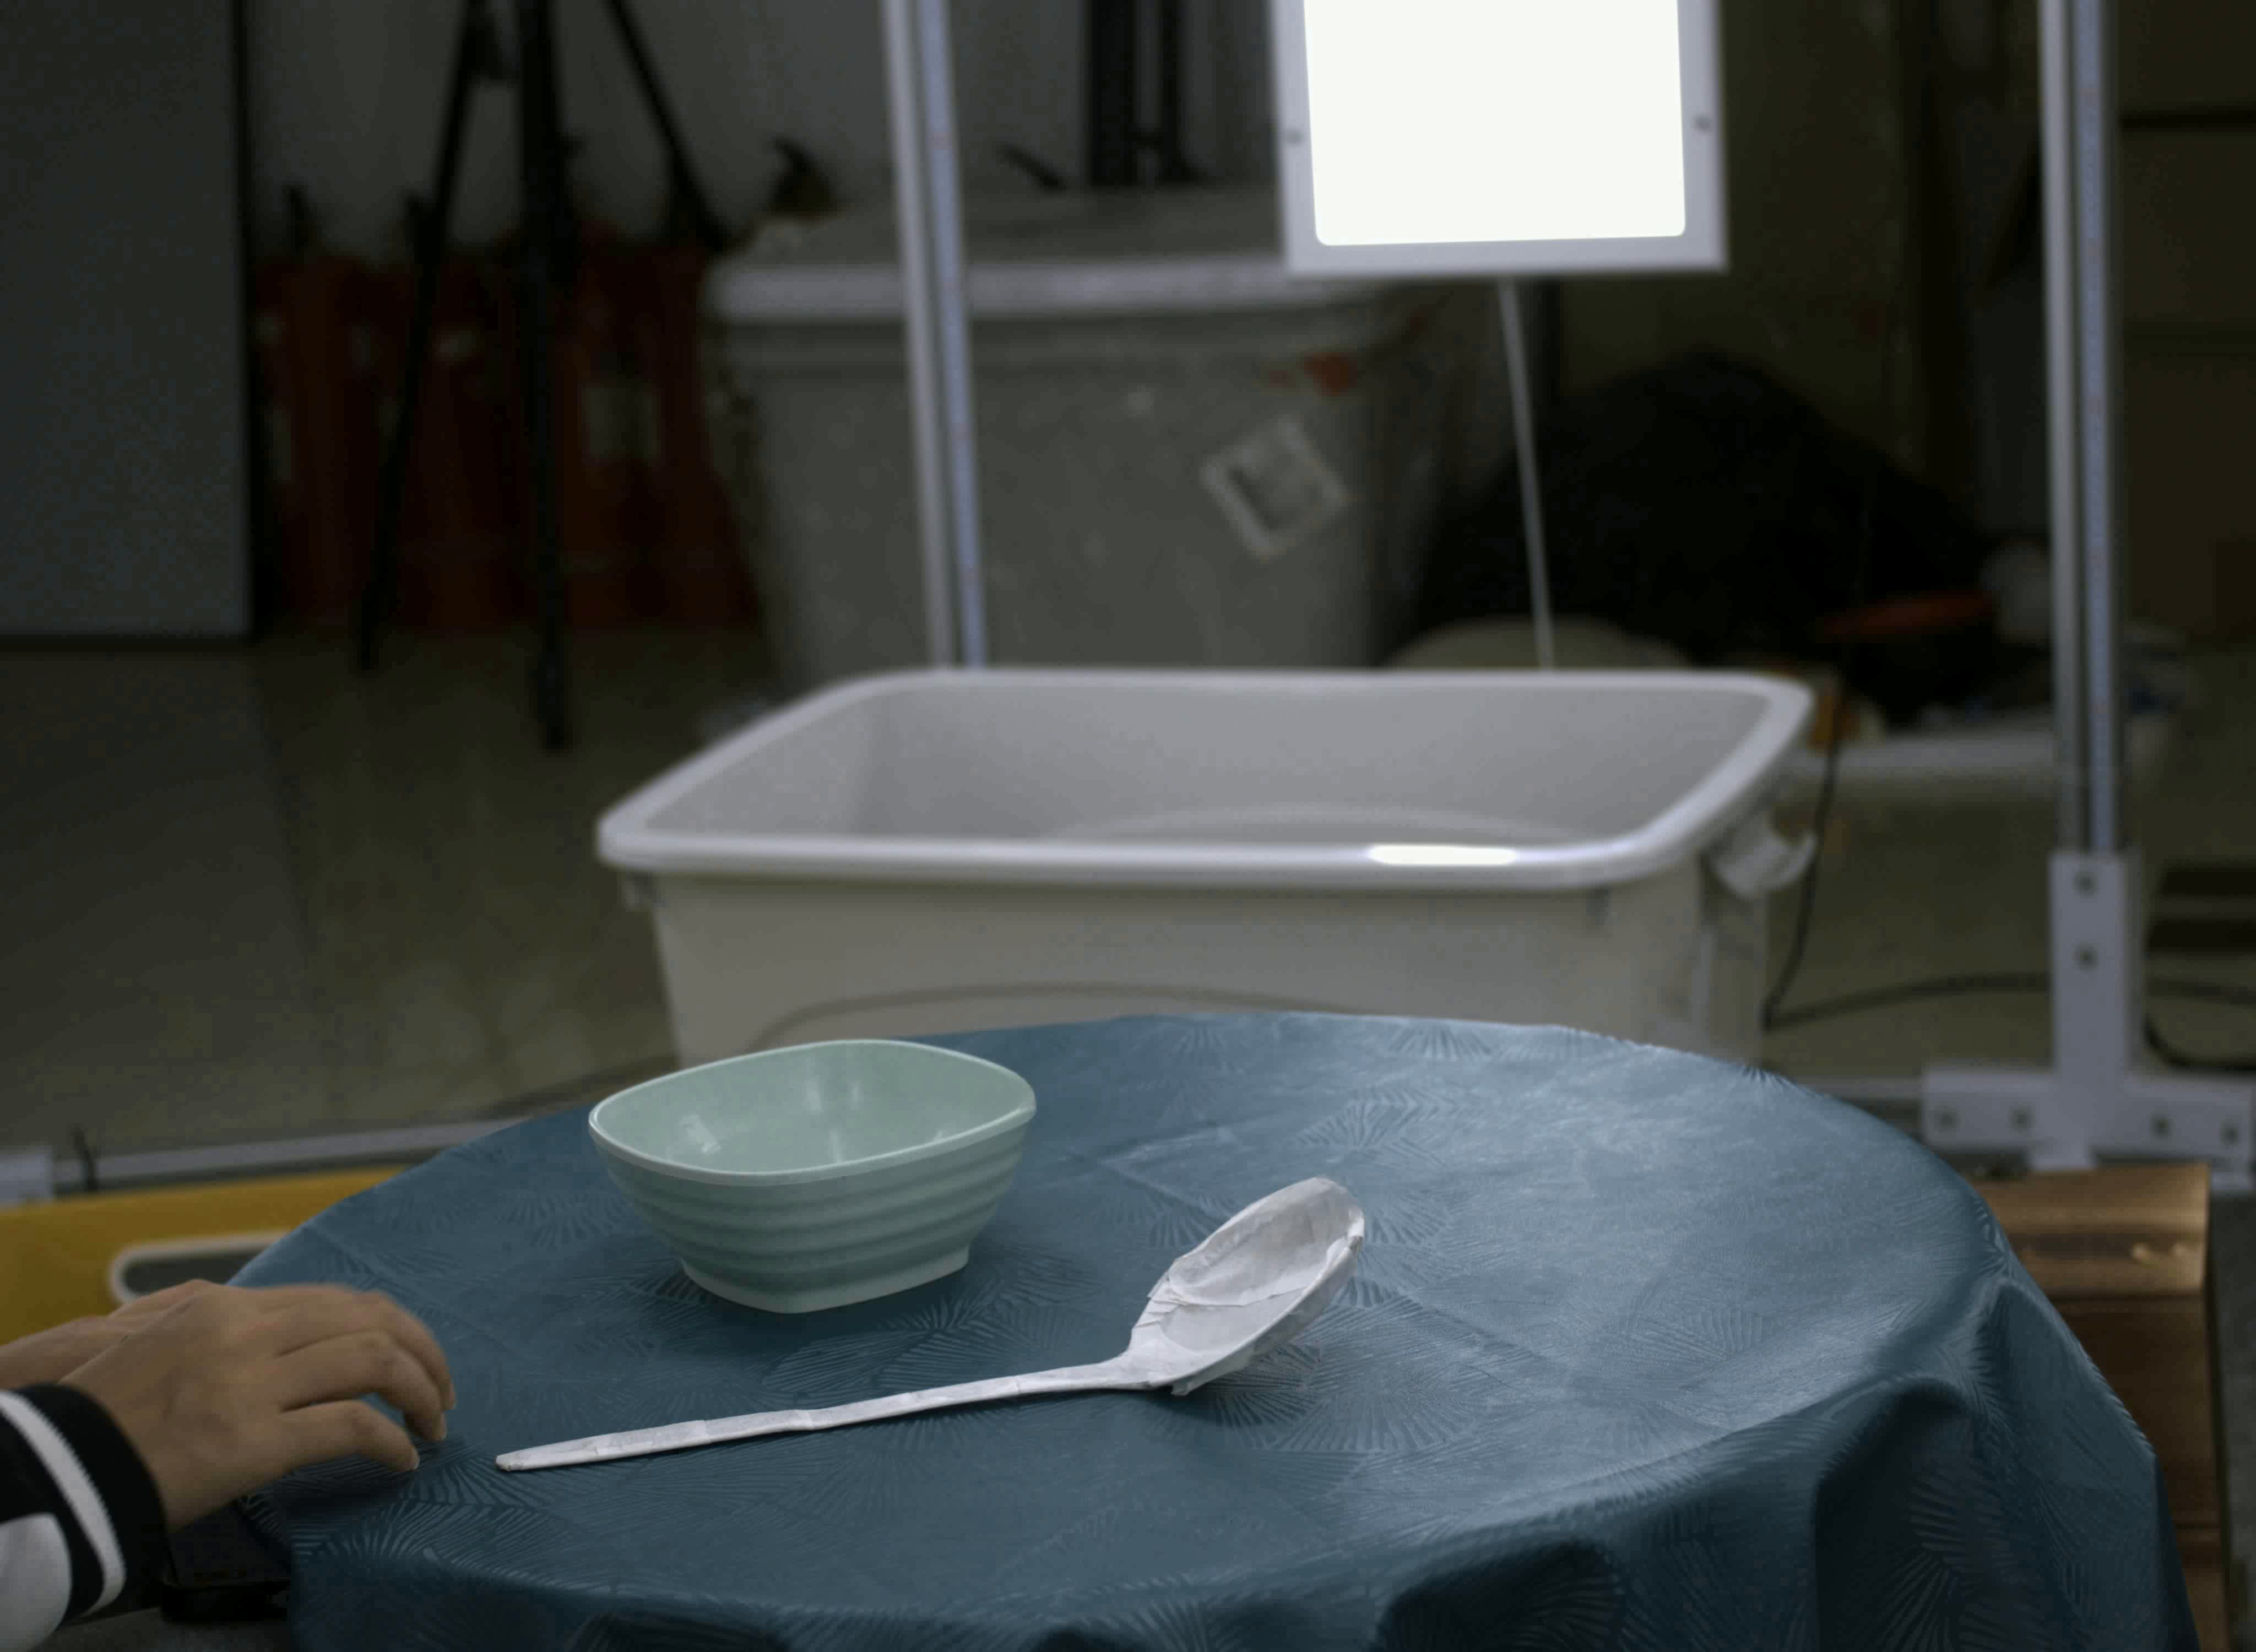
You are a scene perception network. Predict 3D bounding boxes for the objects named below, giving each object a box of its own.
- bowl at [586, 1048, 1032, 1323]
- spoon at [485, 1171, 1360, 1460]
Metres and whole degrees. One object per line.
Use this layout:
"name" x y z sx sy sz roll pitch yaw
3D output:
"bowl" -0.105 0.123 1.842 0.151 0.059 0.151 -5 14 0
"spoon" -0.063 0.150 1.704 0.275 0.059 0.101 -6 9 -4
